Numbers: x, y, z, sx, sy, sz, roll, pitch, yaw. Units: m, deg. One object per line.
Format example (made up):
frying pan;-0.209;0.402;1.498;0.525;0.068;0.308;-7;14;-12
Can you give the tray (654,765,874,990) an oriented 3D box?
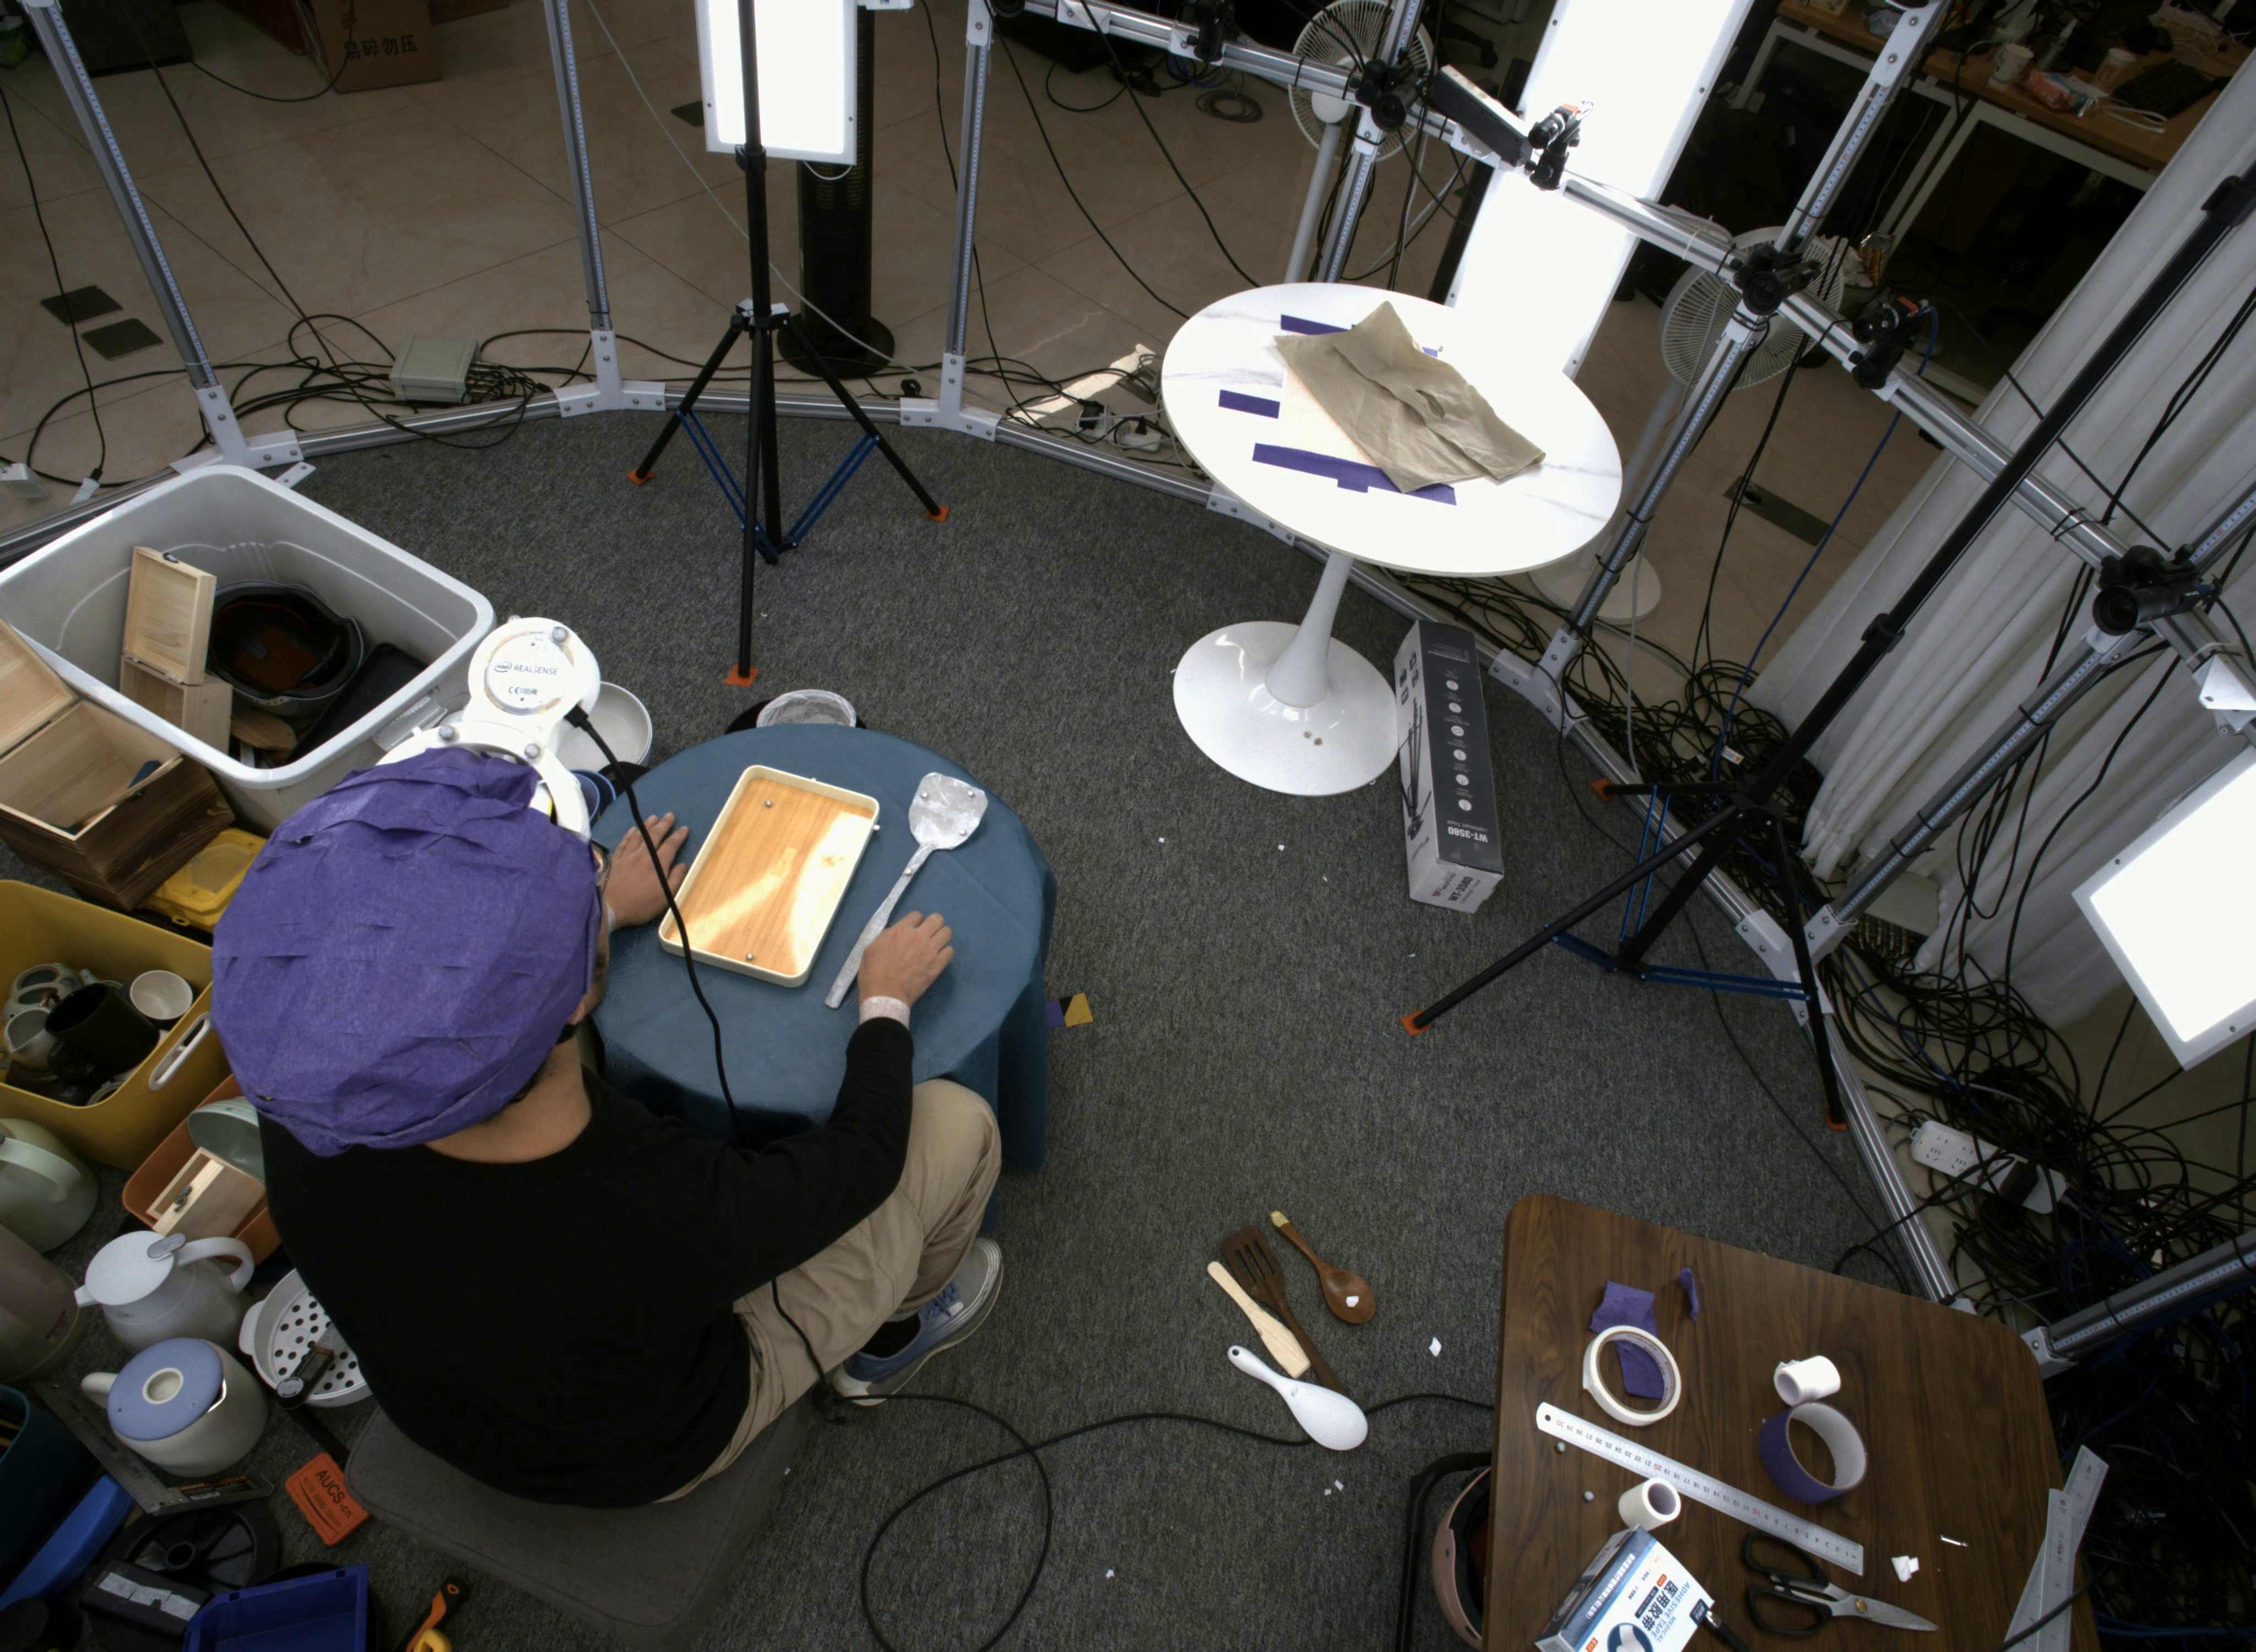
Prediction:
tray;-0.458;0.057;1.649;0.190;0.028;0.296;17;52;-2

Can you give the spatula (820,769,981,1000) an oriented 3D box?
spatula;-0.300;0.072;1.673;0.097;0.045;0.362;23;51;3
